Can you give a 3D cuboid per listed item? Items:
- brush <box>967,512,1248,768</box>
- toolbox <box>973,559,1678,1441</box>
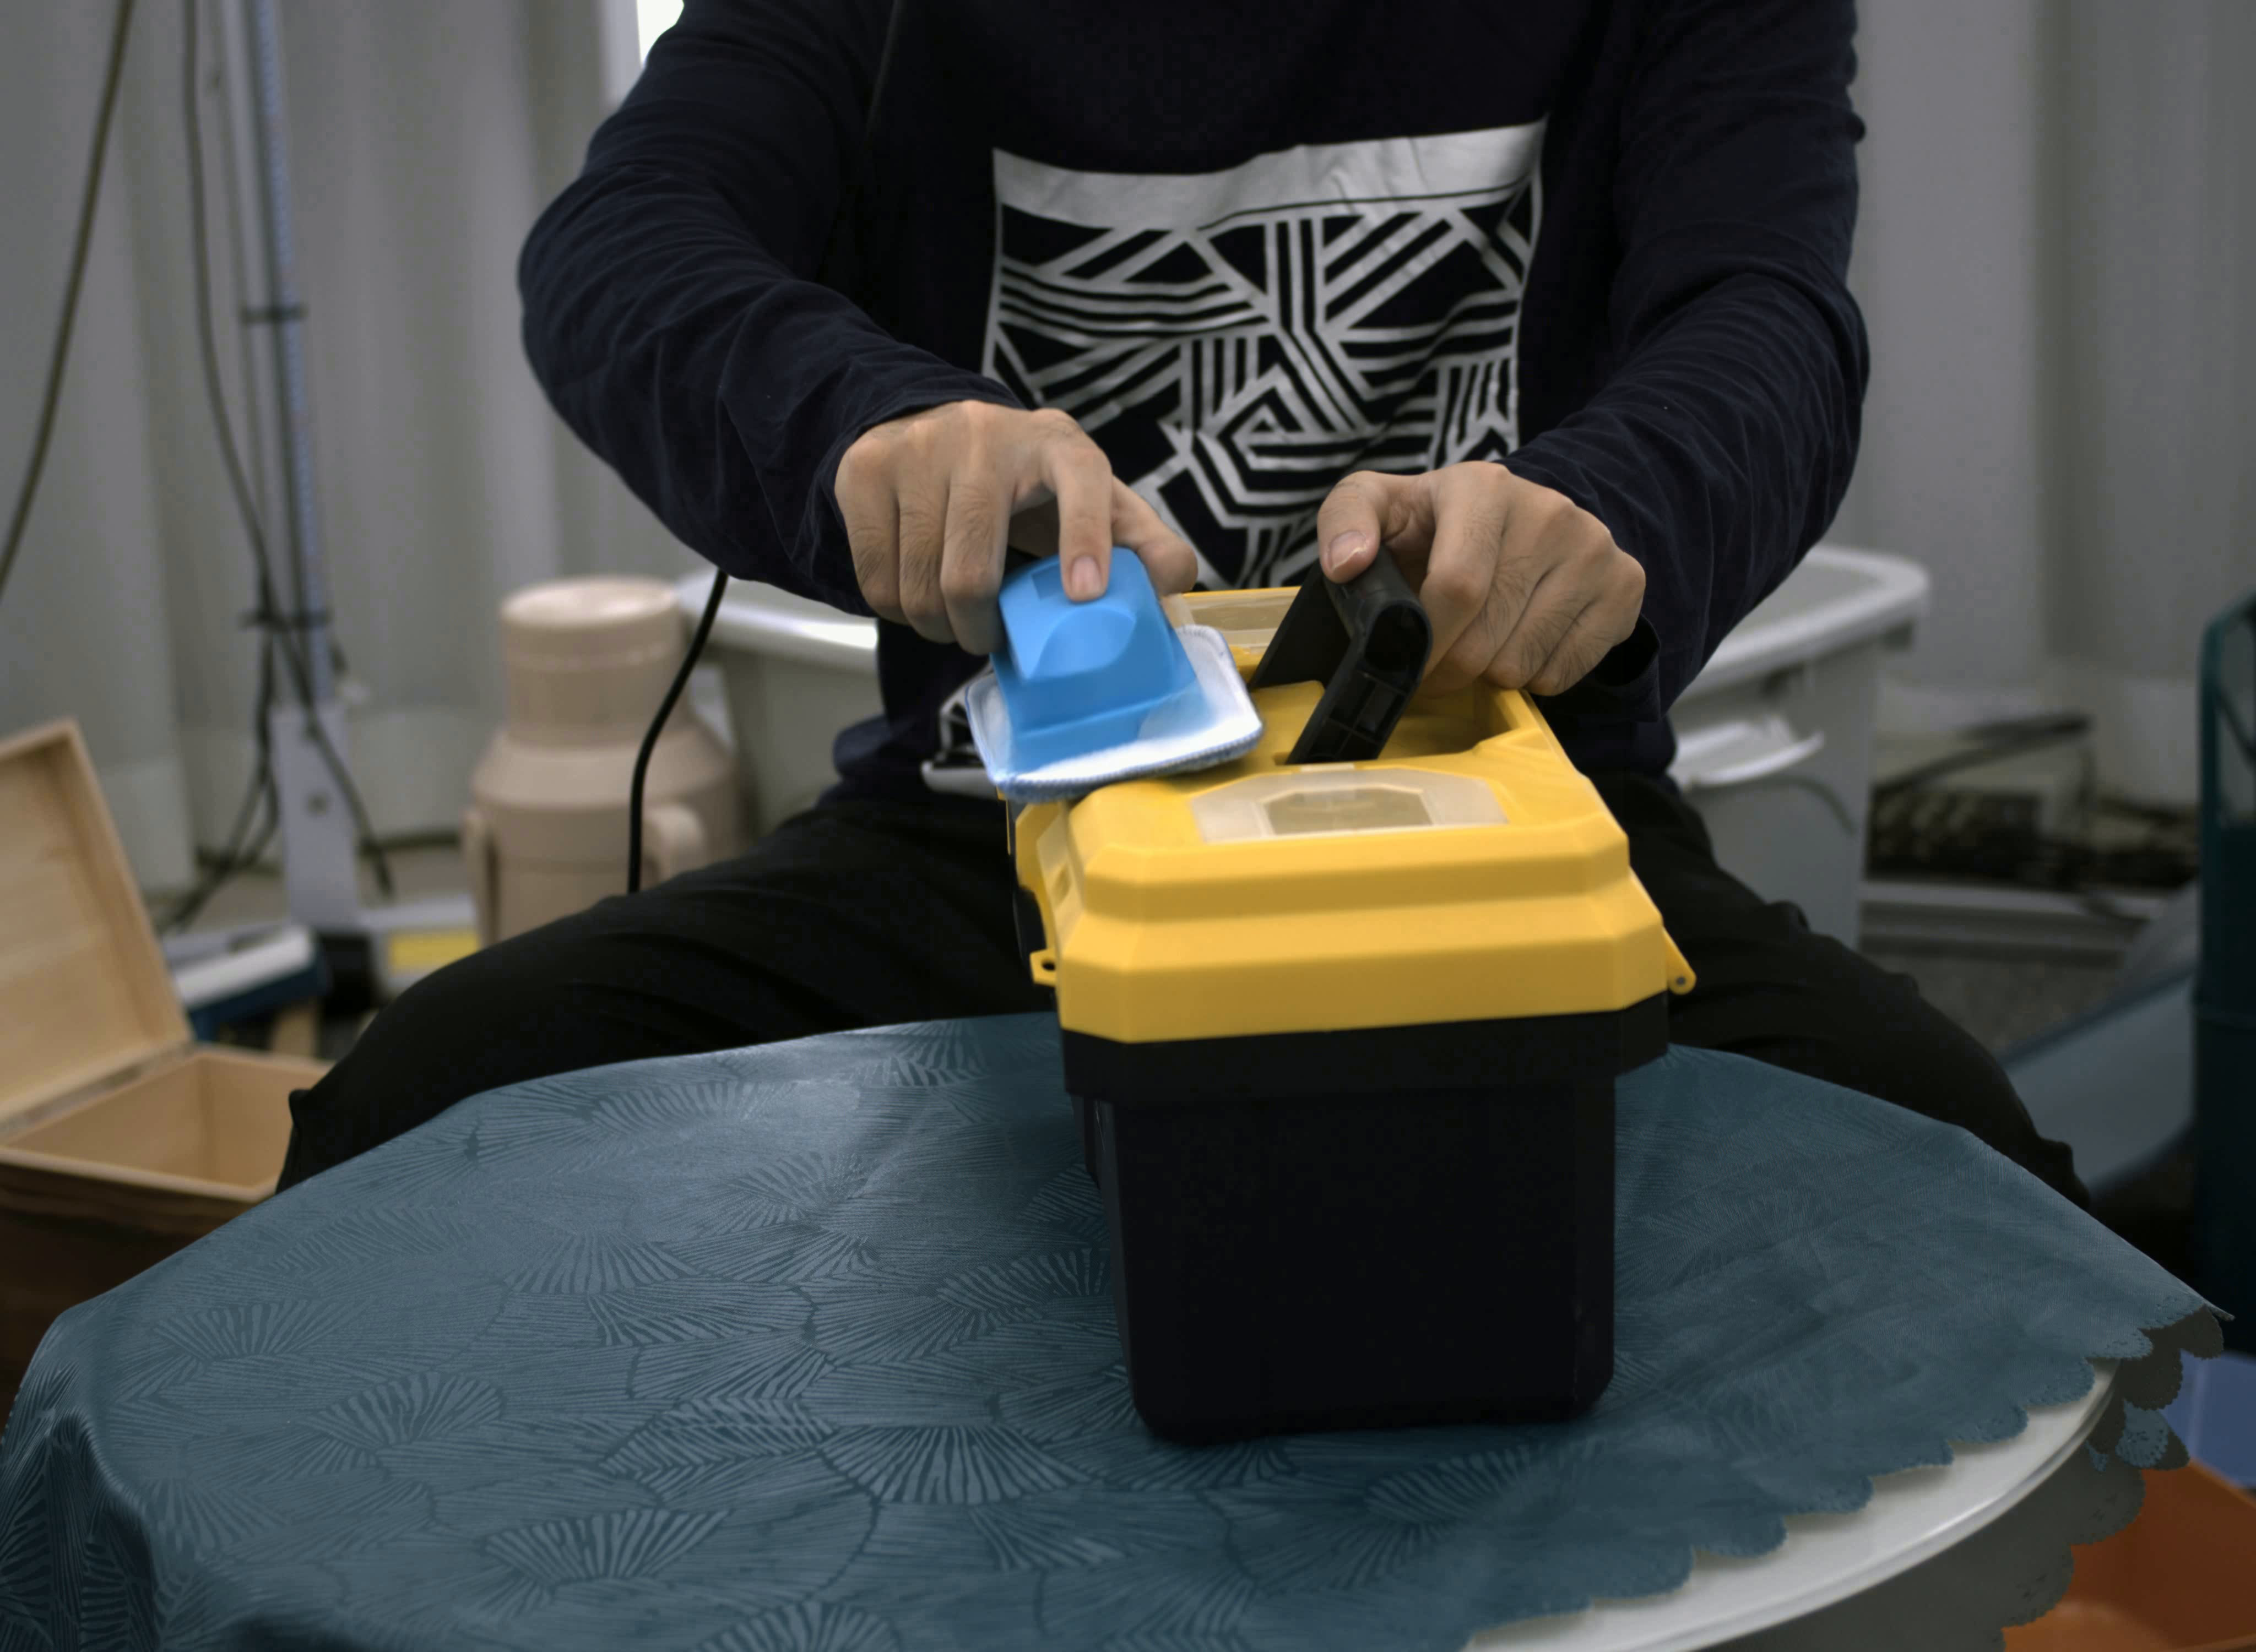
[{"bbox_3d":[-0.009,-0.056,1.601,0.083,0.055,0.145,-11,16,2],"label":"brush"},{"bbox_3d":[0.053,0.043,1.632,0.180,0.172,0.354,-4,16,-3],"label":"toolbox"}]
